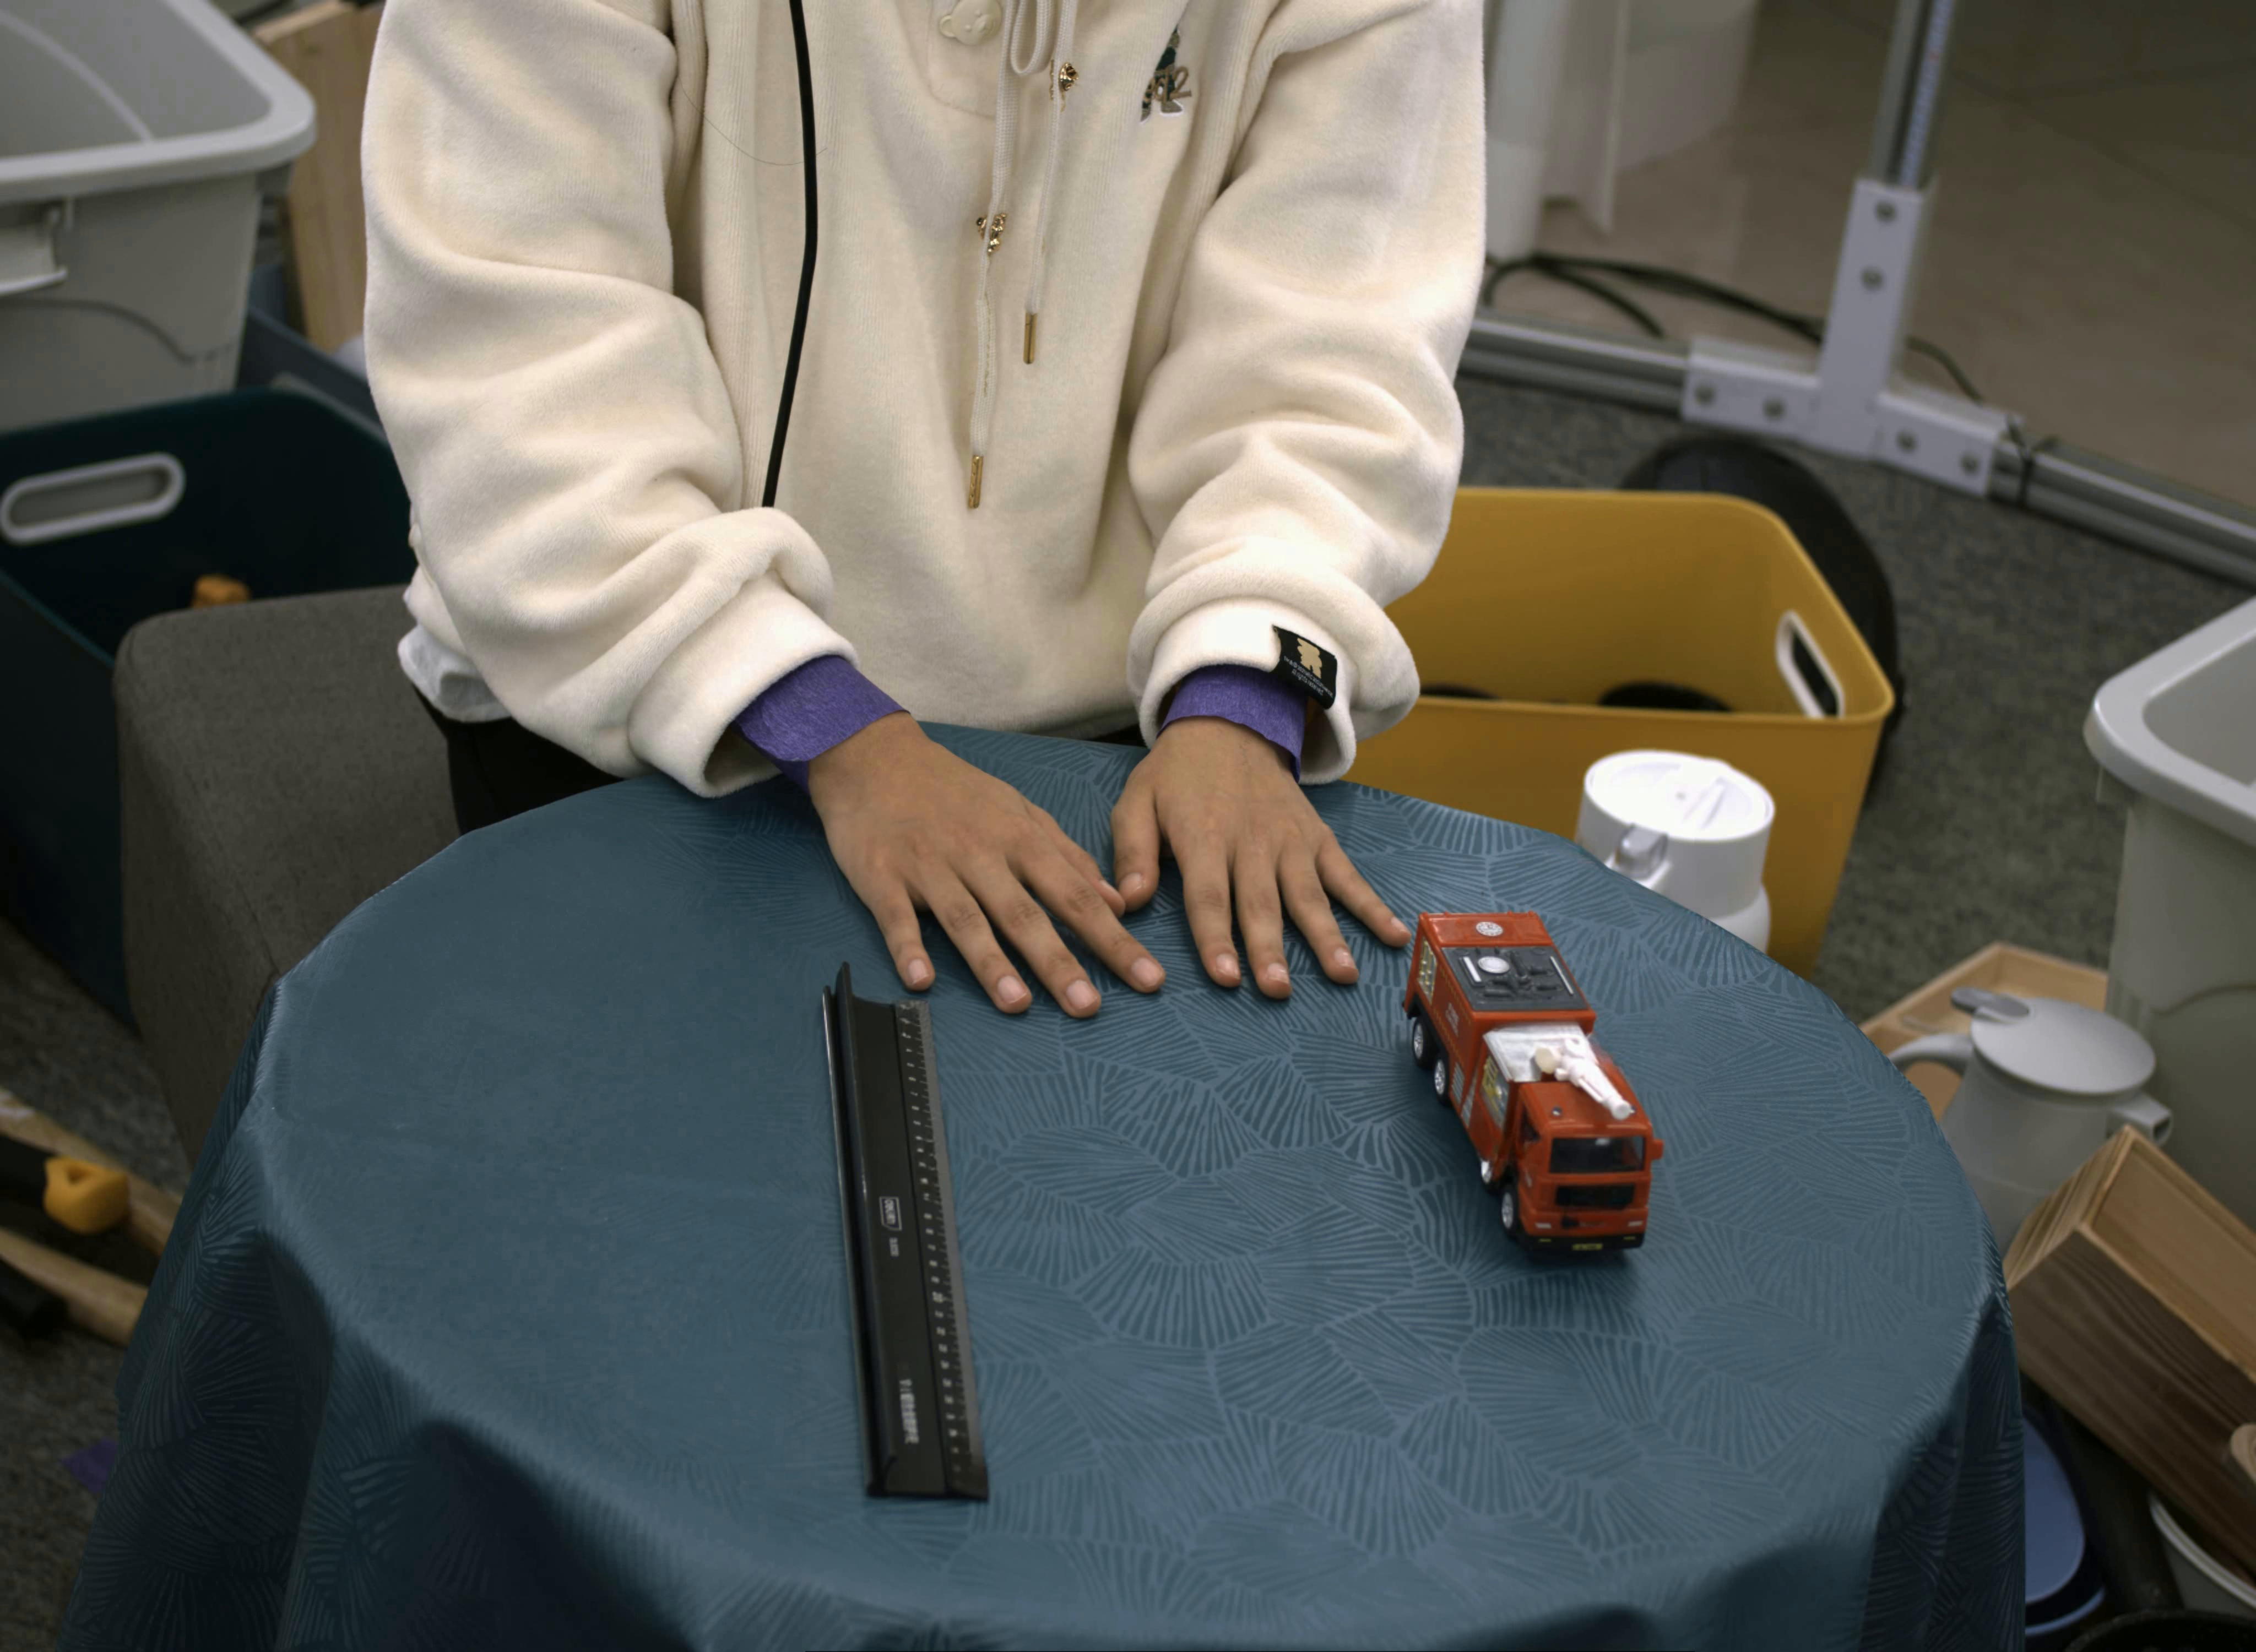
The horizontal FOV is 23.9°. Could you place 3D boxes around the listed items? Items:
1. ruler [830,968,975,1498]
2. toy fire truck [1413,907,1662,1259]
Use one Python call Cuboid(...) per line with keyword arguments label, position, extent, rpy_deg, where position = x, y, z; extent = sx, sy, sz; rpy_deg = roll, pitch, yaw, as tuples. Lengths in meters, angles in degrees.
Cuboid(label="ruler", position=(-0.075, 0.128, 1.759), extent=(0.039, 0.017, 0.314), rpy_deg=(6, 26, -8))
Cuboid(label="toy fire truck", position=(0.140, 0.087, 1.841), extent=(0.054, 0.070, 0.169), rpy_deg=(-1, 26, -13))
